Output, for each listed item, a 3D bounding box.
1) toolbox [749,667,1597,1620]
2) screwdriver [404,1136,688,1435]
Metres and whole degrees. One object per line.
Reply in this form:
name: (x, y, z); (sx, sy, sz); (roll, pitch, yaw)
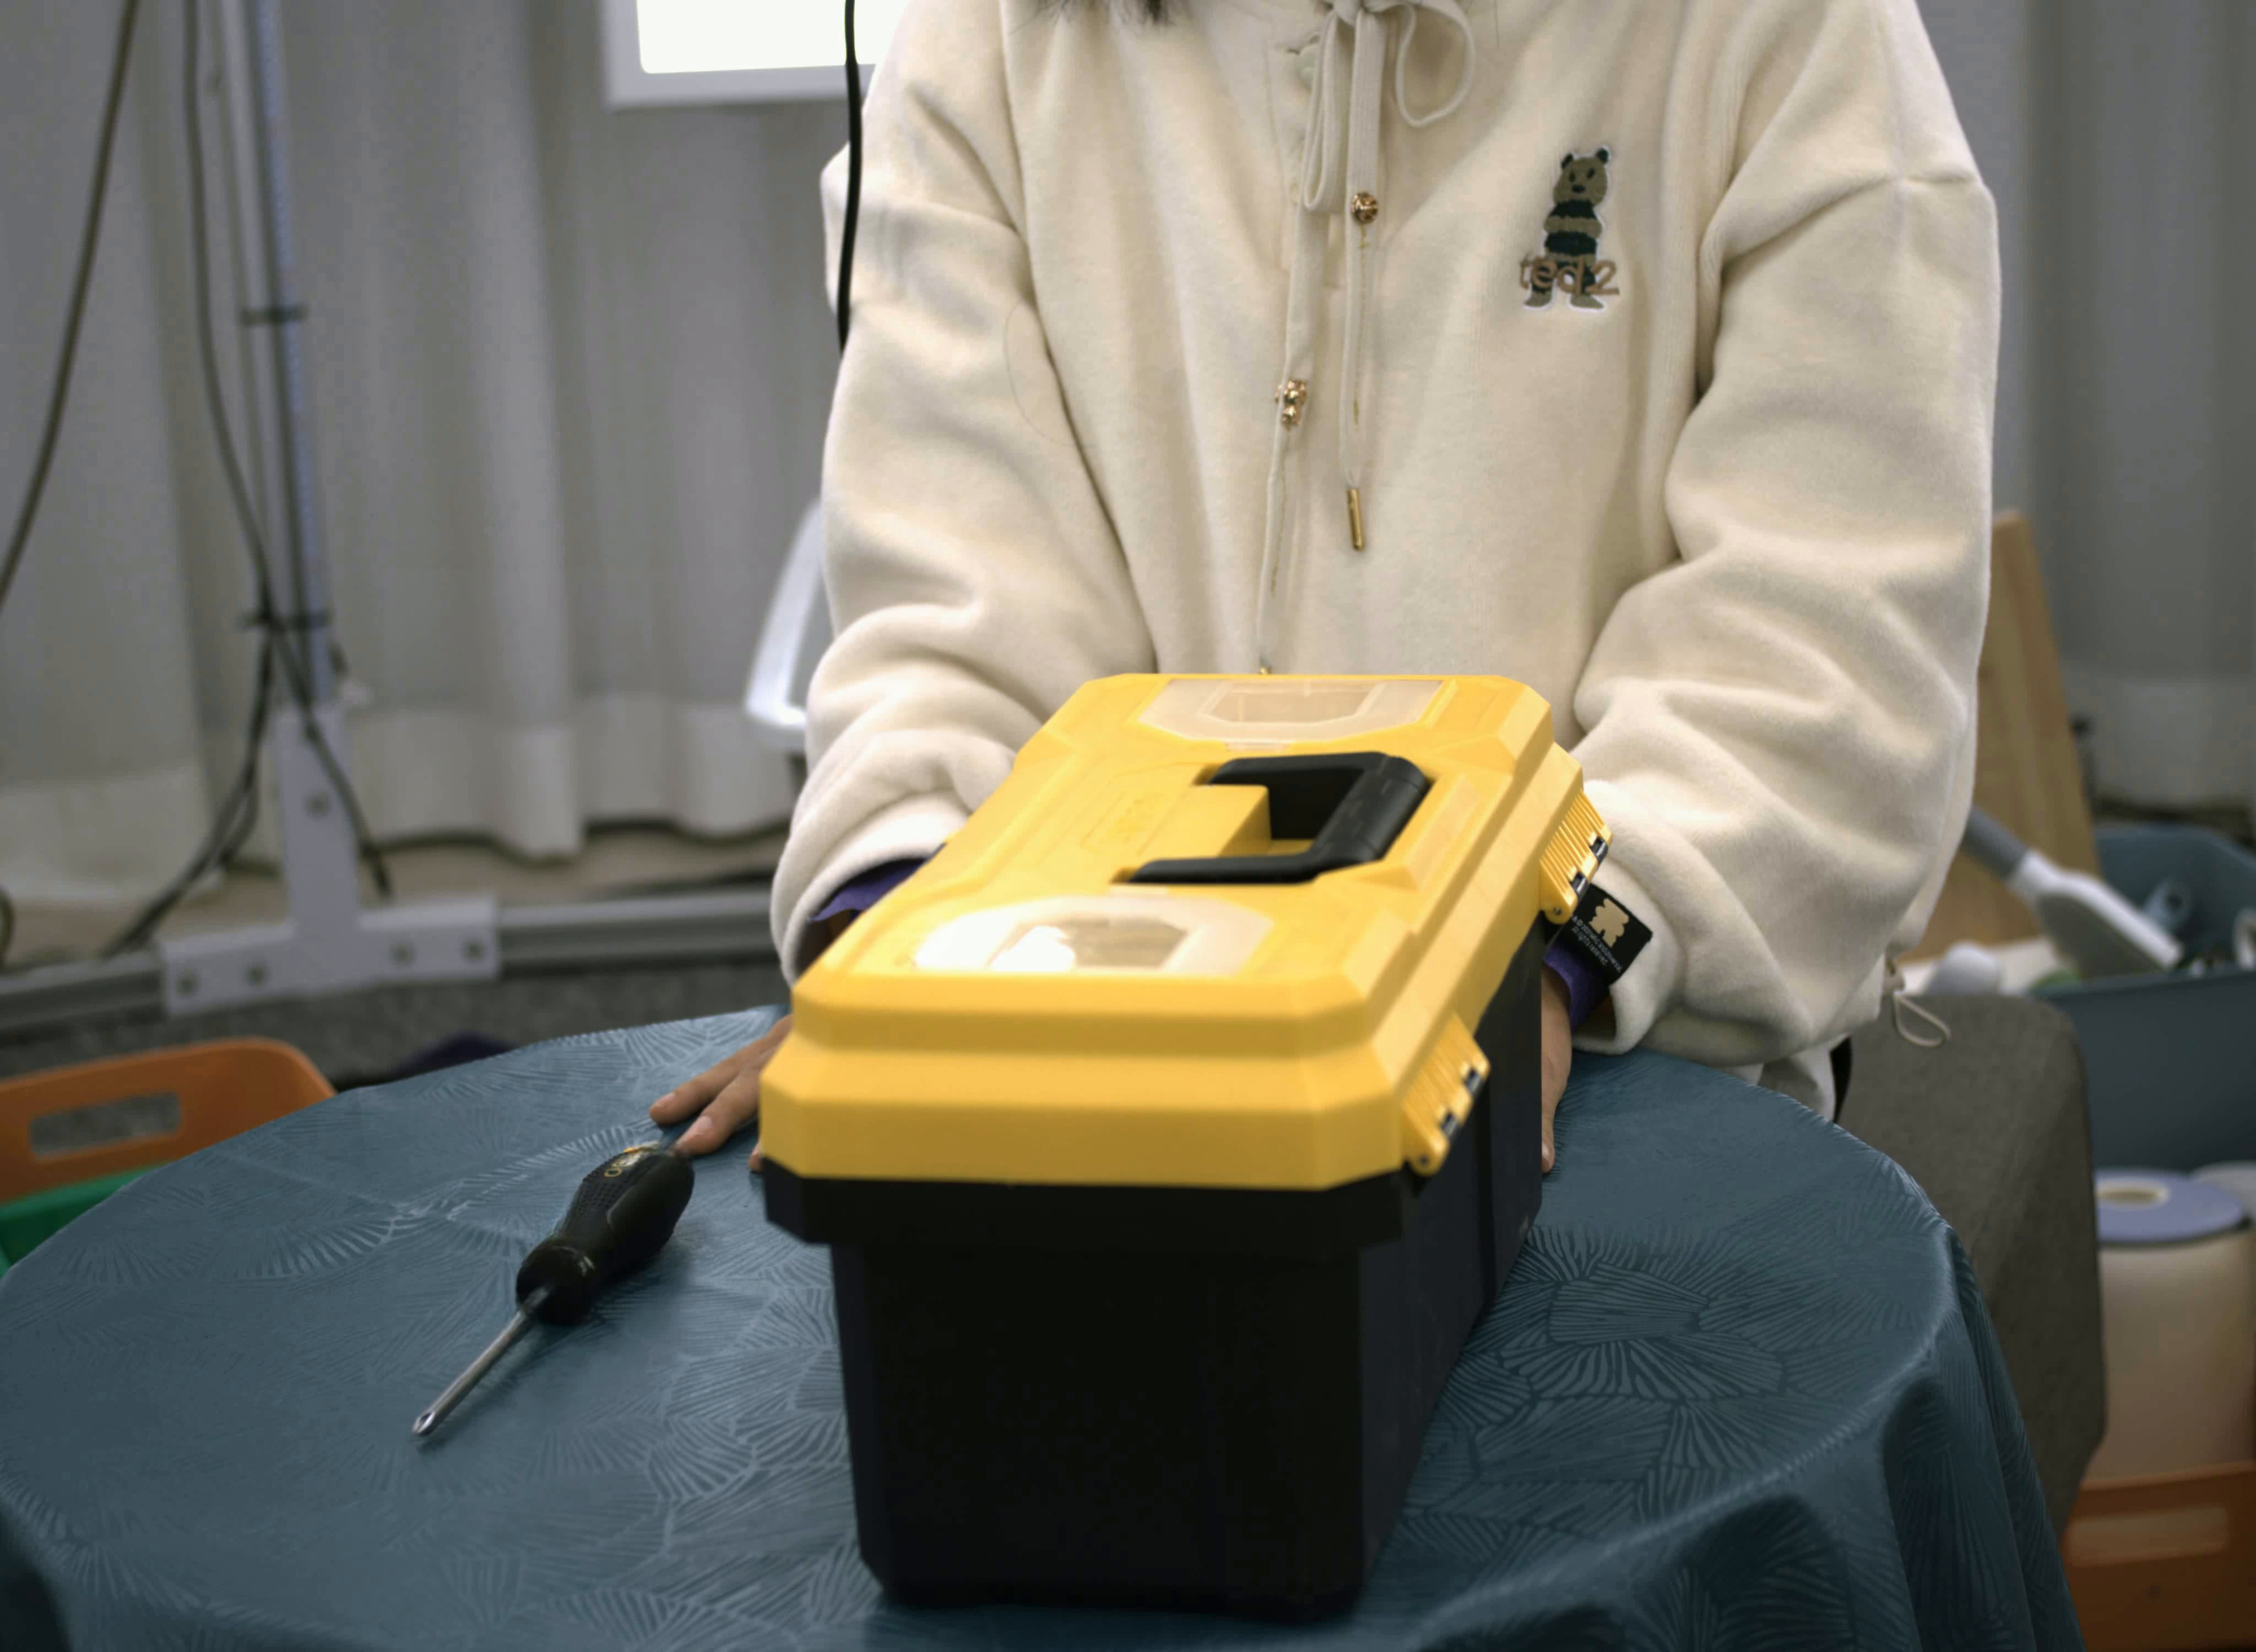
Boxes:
toolbox: (0.025, 0.077, 1.513); (0.181, 0.172, 0.353); (1, 15, 14)
screwdriver: (-0.174, 0.134, 1.614); (0.031, 0.031, 0.197); (2, 17, 17)
